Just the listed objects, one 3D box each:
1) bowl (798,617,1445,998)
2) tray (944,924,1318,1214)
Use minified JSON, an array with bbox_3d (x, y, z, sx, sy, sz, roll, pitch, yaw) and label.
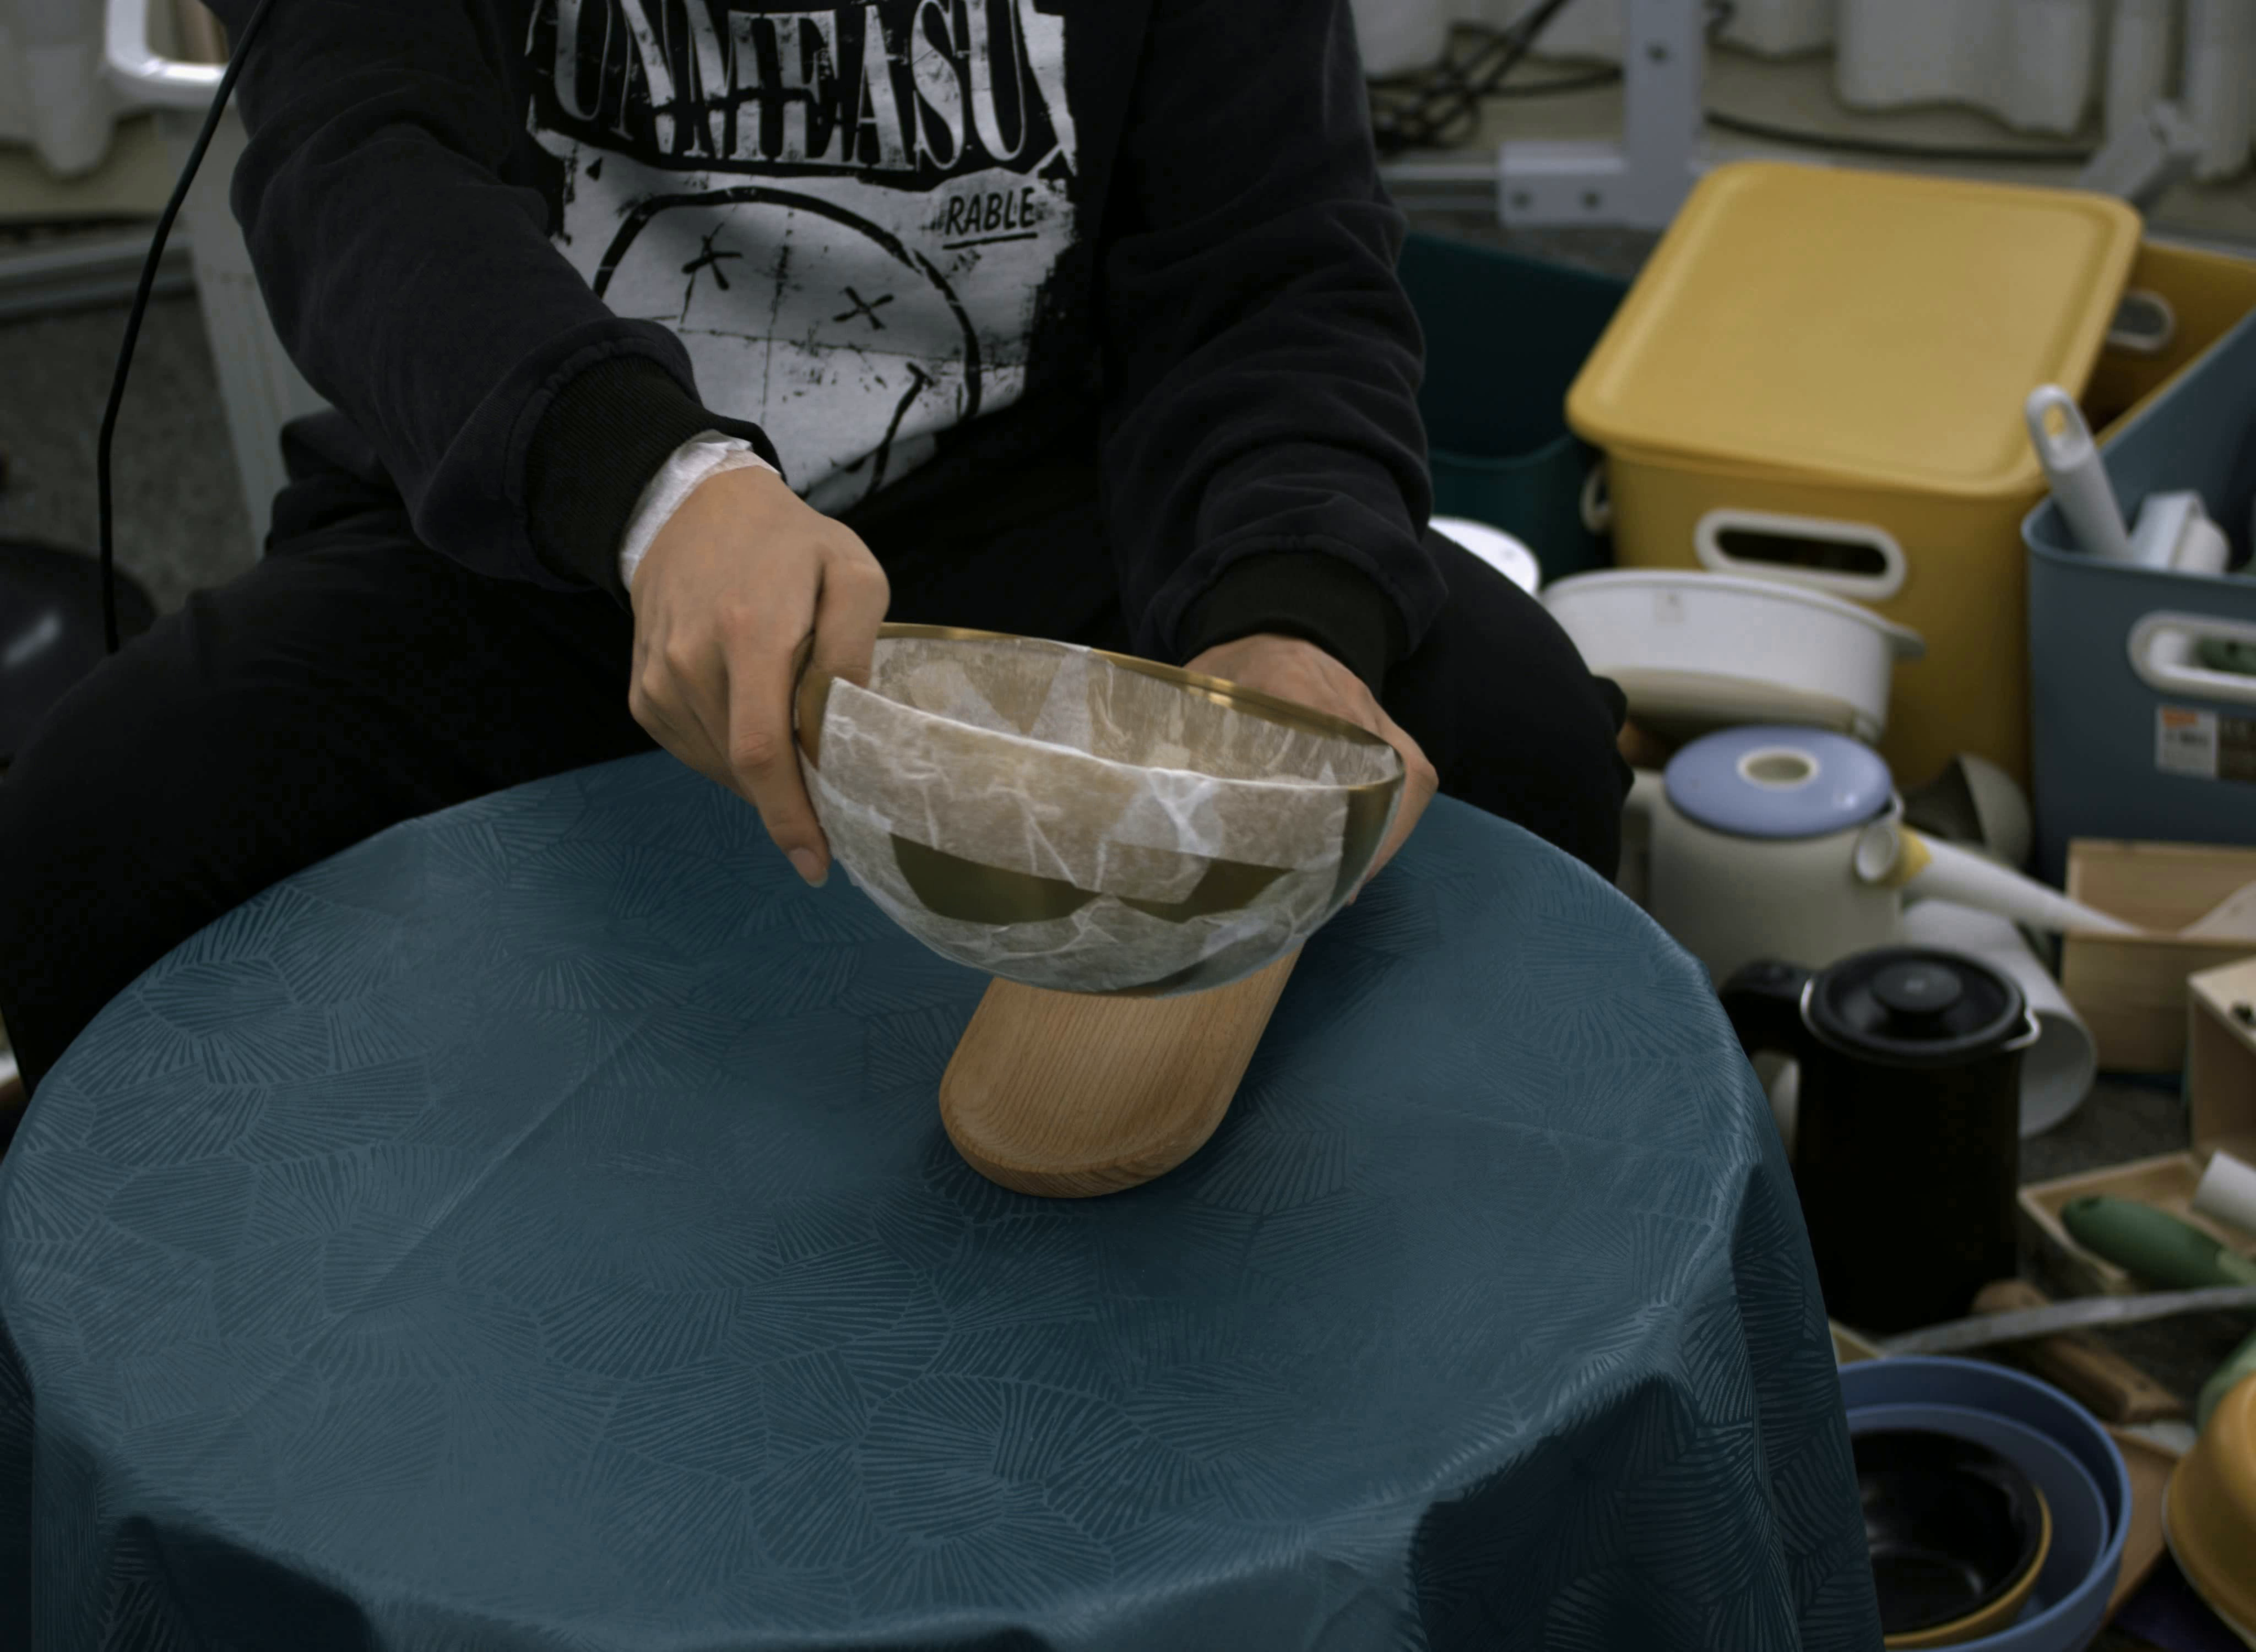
[{"bbox_3d":[-0.012,0.002,1.809,0.214,0.094,0.216,11,10,-1],"label":"bowl"},{"bbox_3d":[0.008,0.053,1.937,0.101,0.020,0.236,2,39,21],"label":"tray"}]
